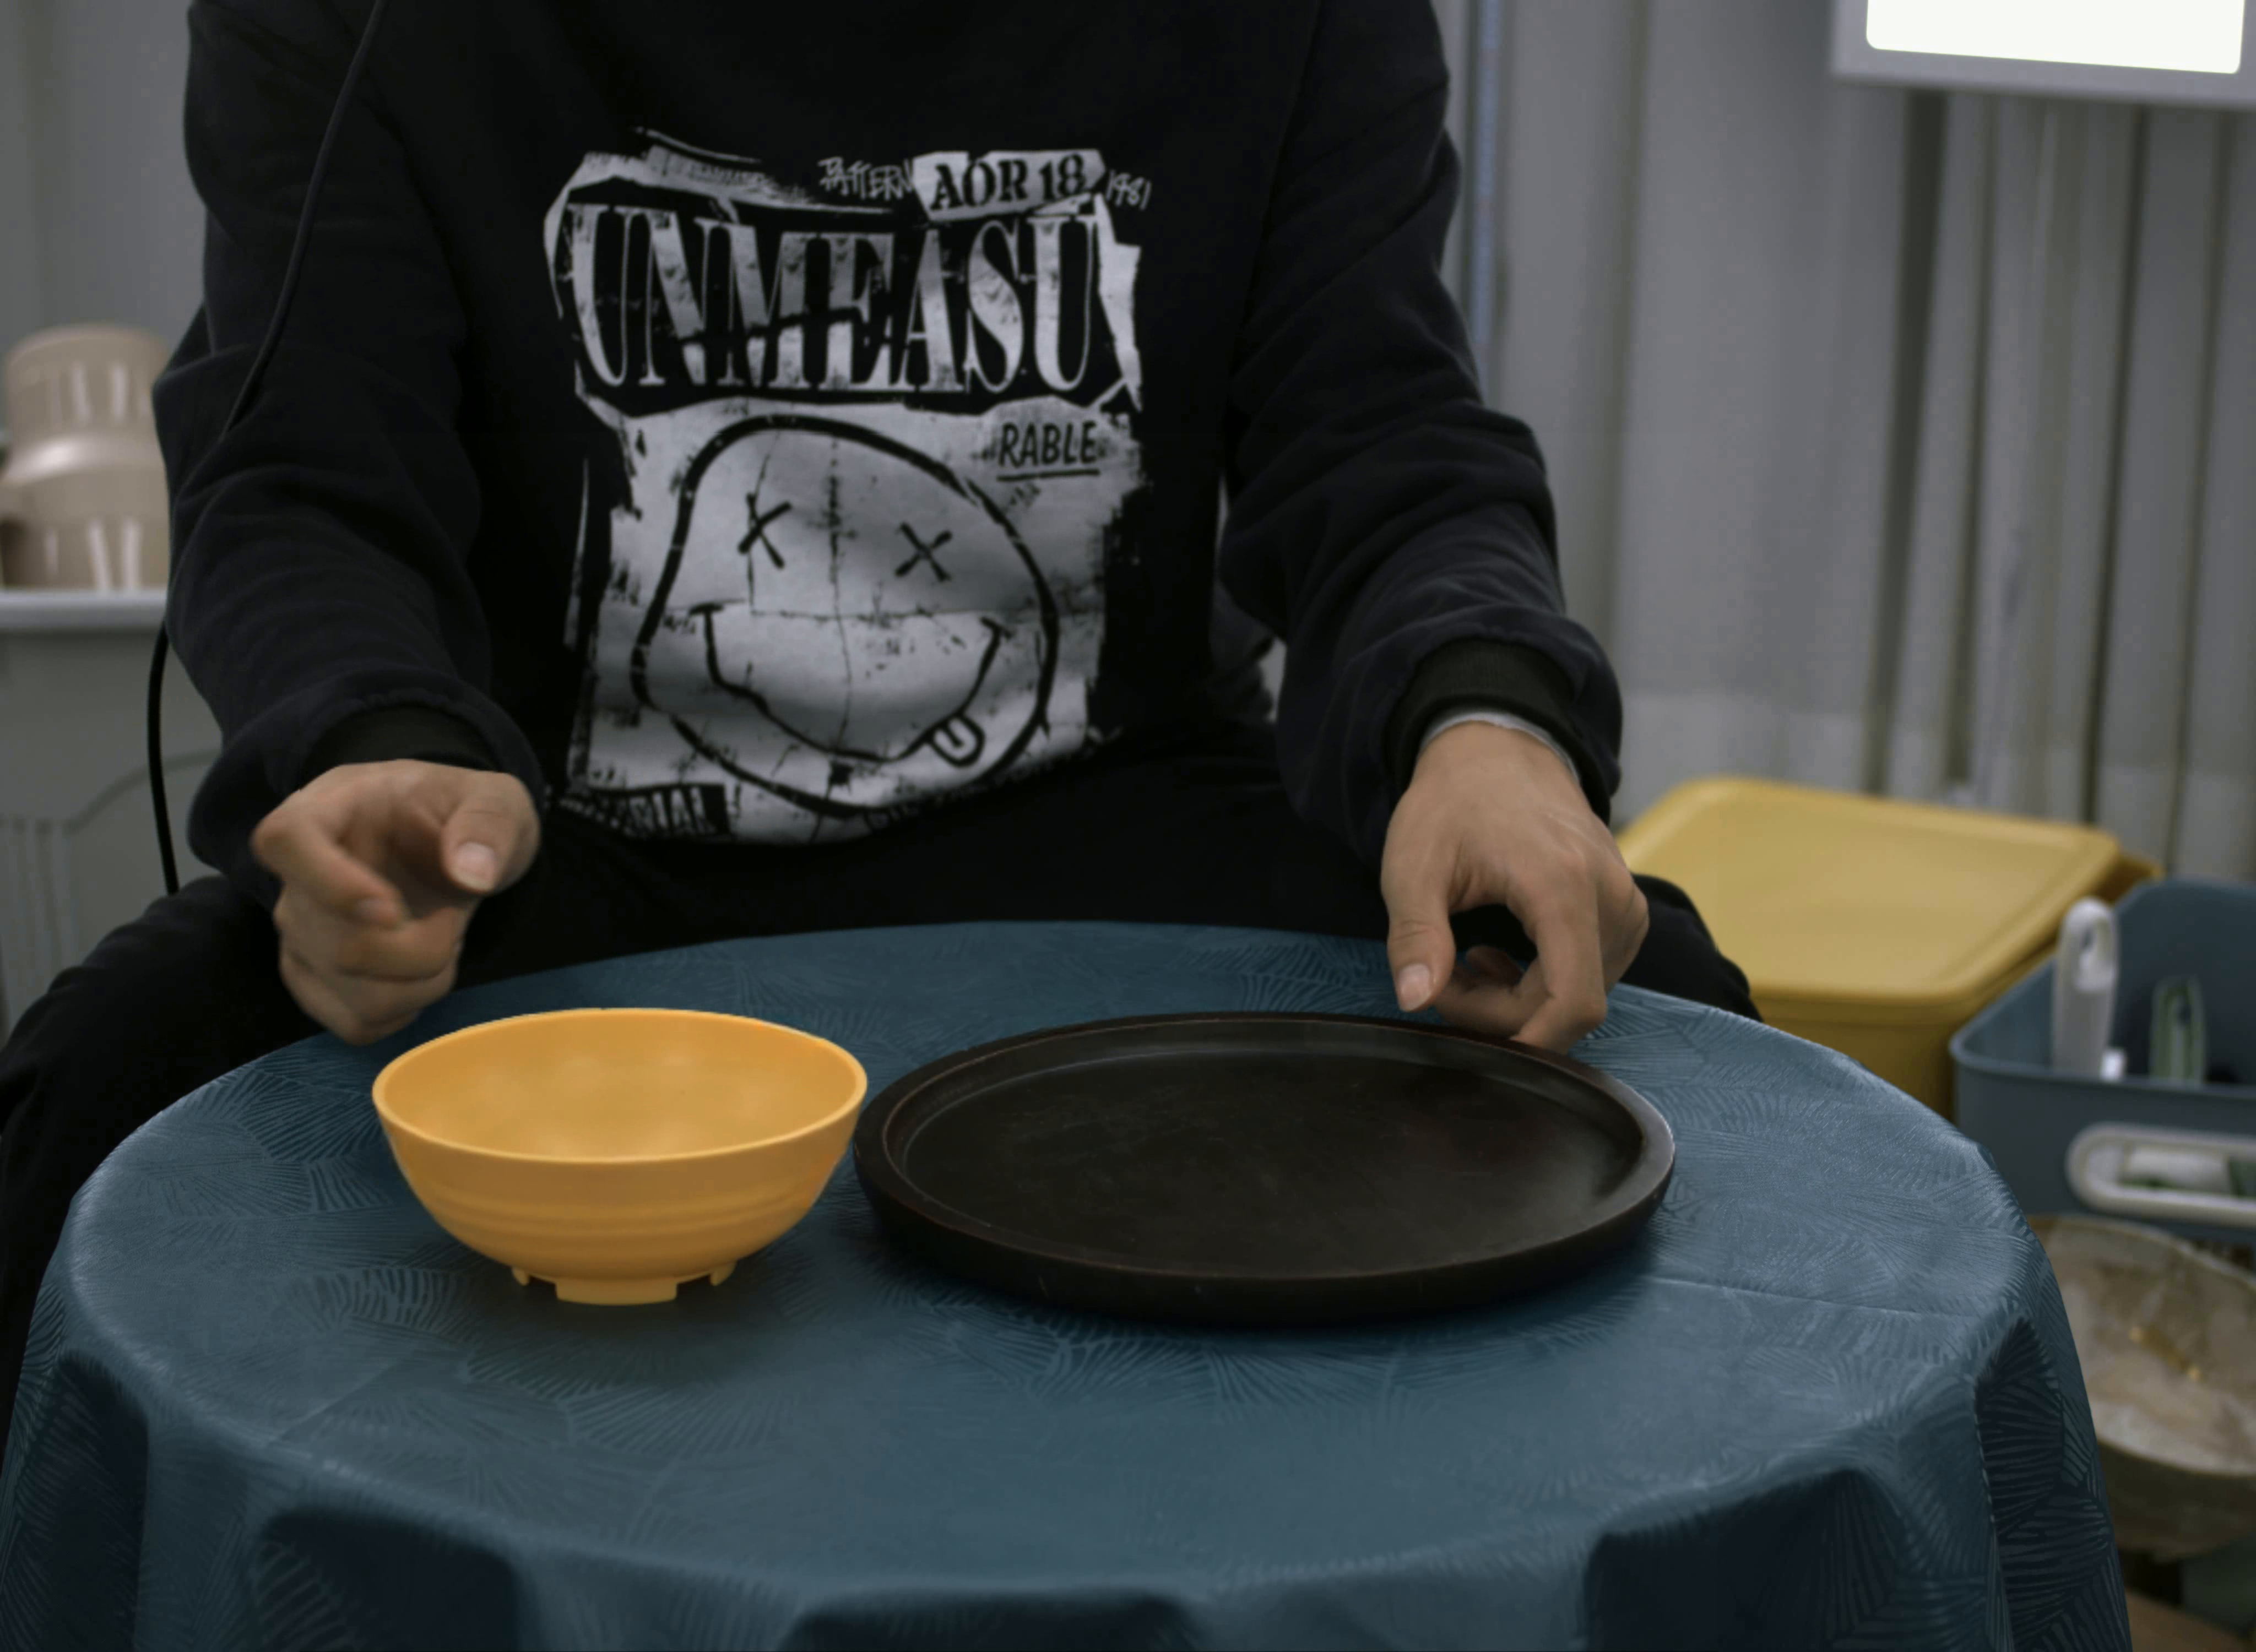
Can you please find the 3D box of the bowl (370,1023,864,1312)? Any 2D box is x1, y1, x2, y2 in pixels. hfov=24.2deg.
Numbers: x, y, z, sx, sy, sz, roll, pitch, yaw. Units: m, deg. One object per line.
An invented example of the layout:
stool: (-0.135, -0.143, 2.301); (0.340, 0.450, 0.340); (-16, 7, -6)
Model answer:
bowl: (-0.150, 0.104, 1.548); (0.145, 0.060, 0.144); (2, 13, 0)

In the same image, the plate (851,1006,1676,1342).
plate: (0.042, 0.104, 1.617); (0.254, 0.029, 0.253); (-1, 16, 1)
